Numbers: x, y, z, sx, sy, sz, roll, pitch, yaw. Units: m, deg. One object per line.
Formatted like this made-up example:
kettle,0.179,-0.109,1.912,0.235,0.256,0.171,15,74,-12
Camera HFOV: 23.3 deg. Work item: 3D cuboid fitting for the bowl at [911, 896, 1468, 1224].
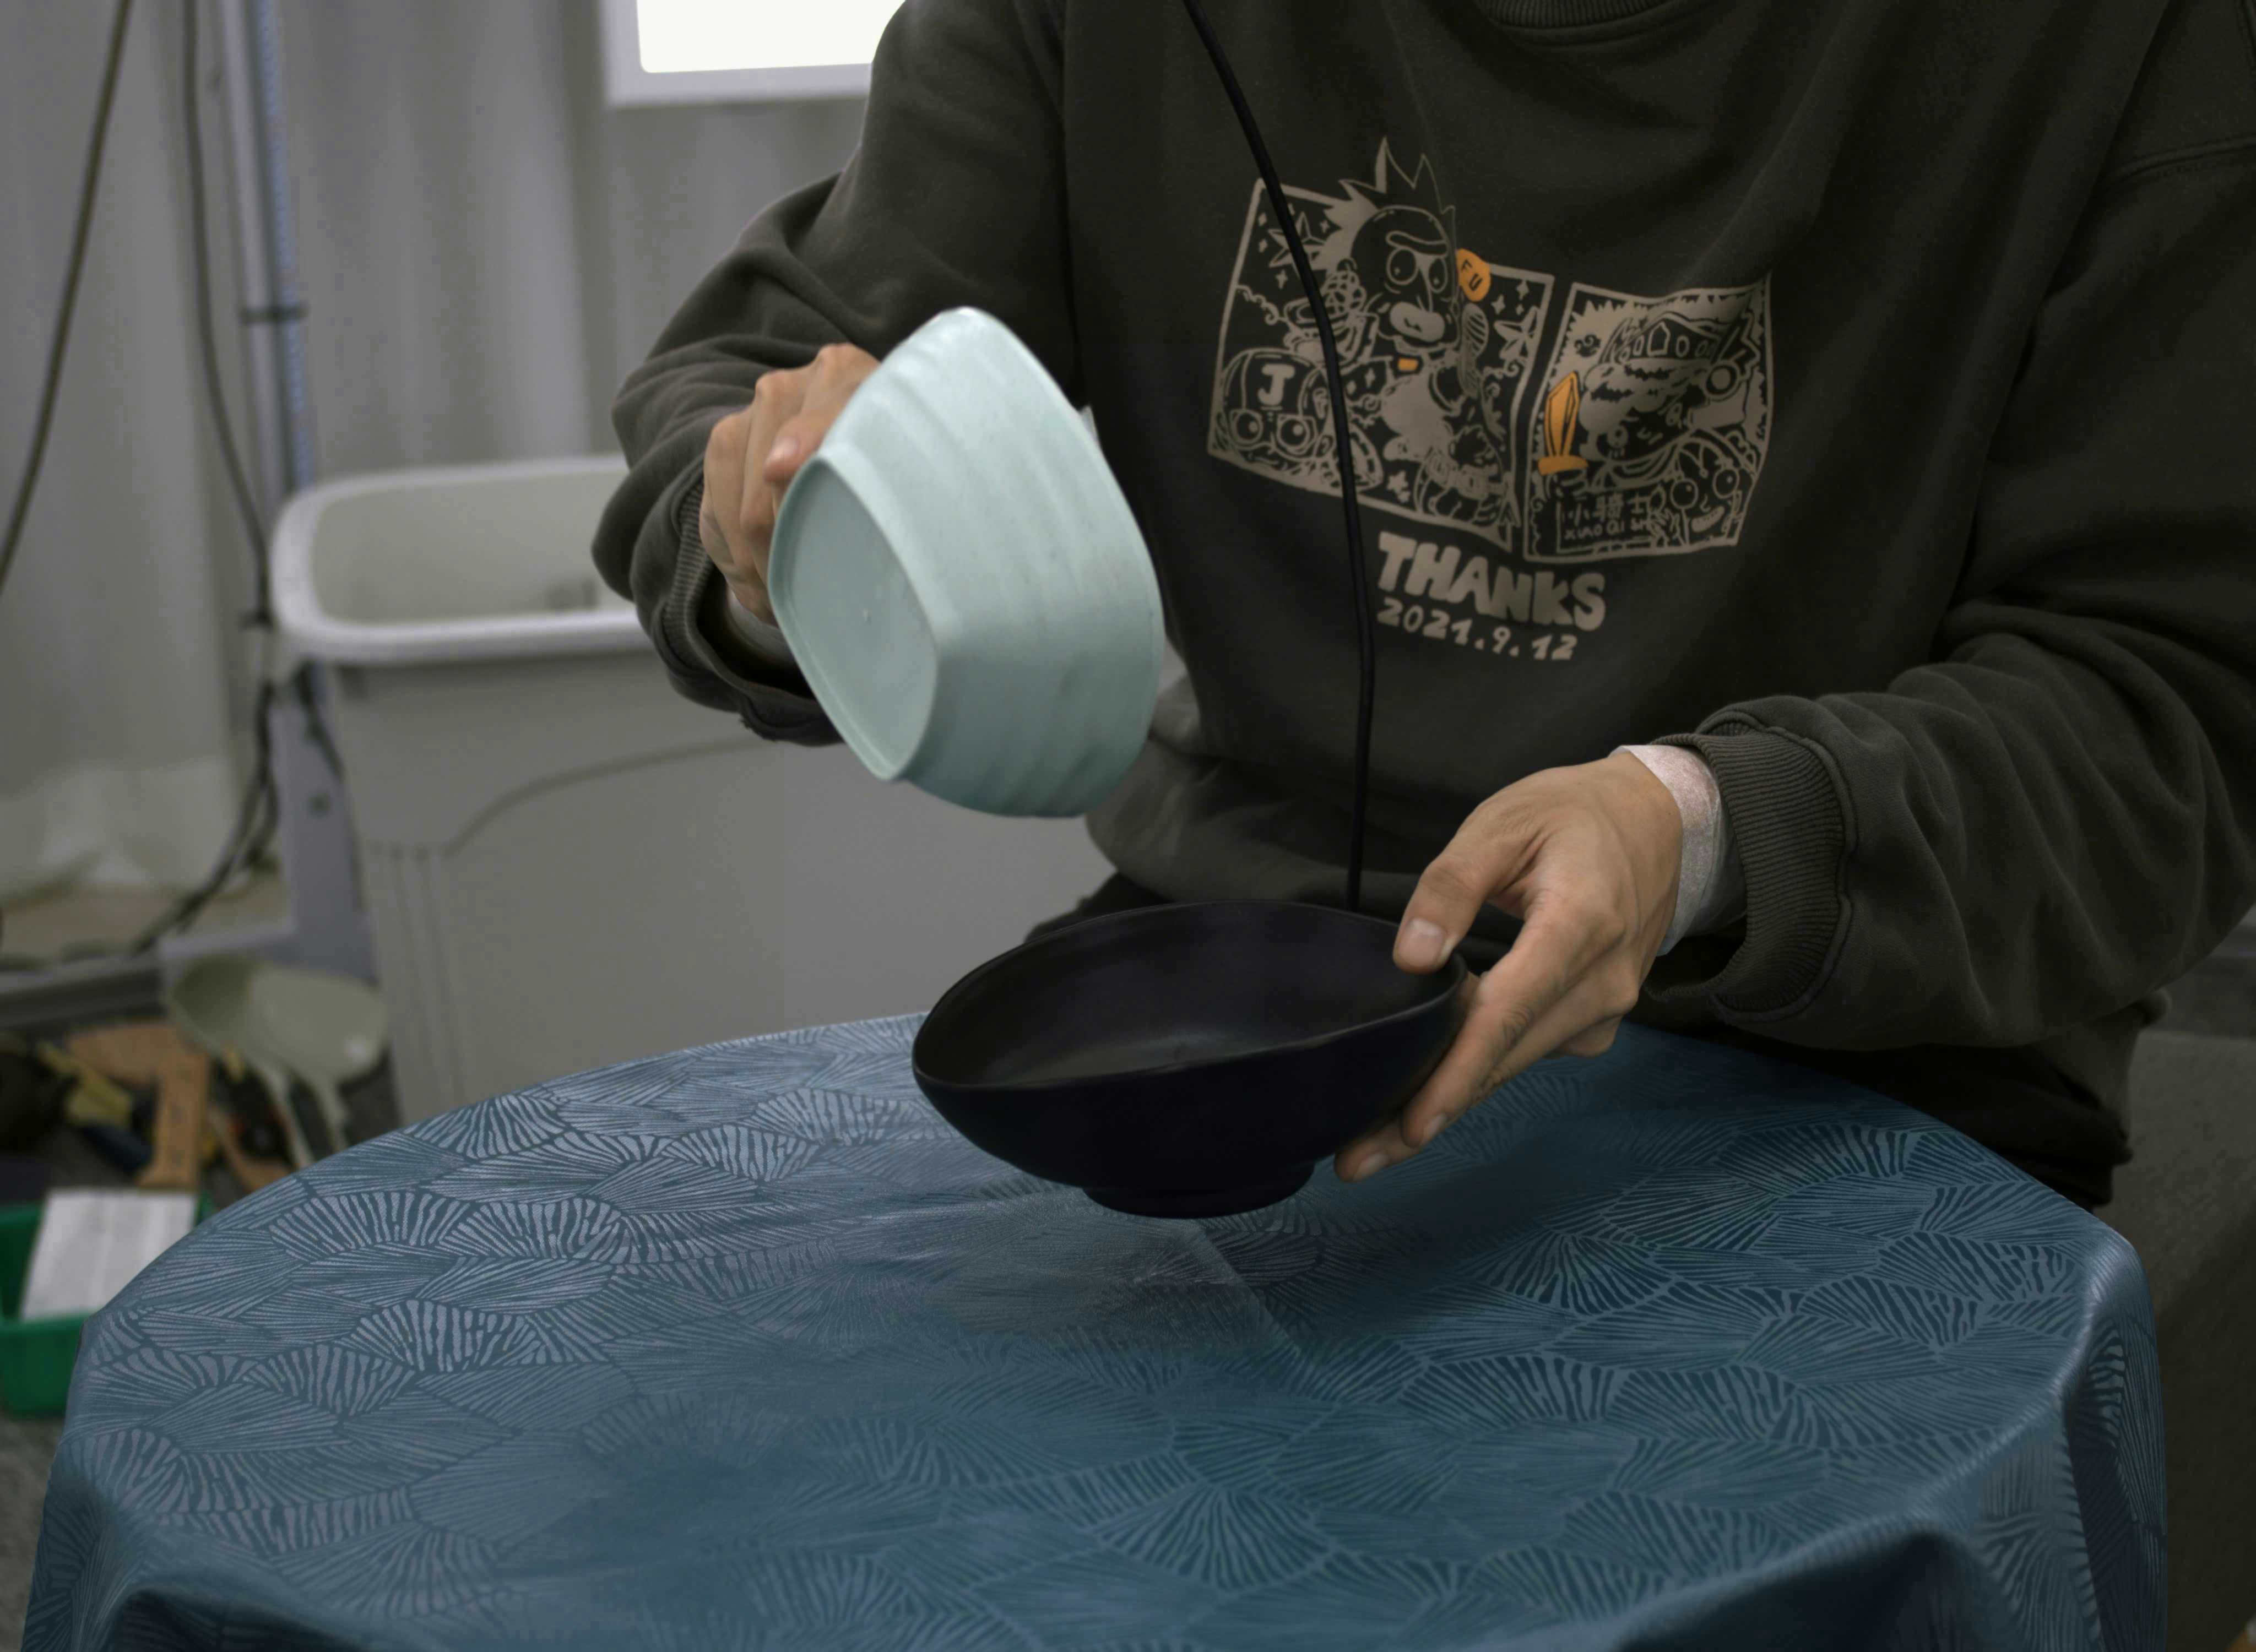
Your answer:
bowl,0.021,0.076,1.621,0.169,0.066,0.138,-11,19,-19

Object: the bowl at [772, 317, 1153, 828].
bowl,-0.055,-0.064,1.556,0.058,0.150,0.152,-18,20,-26
